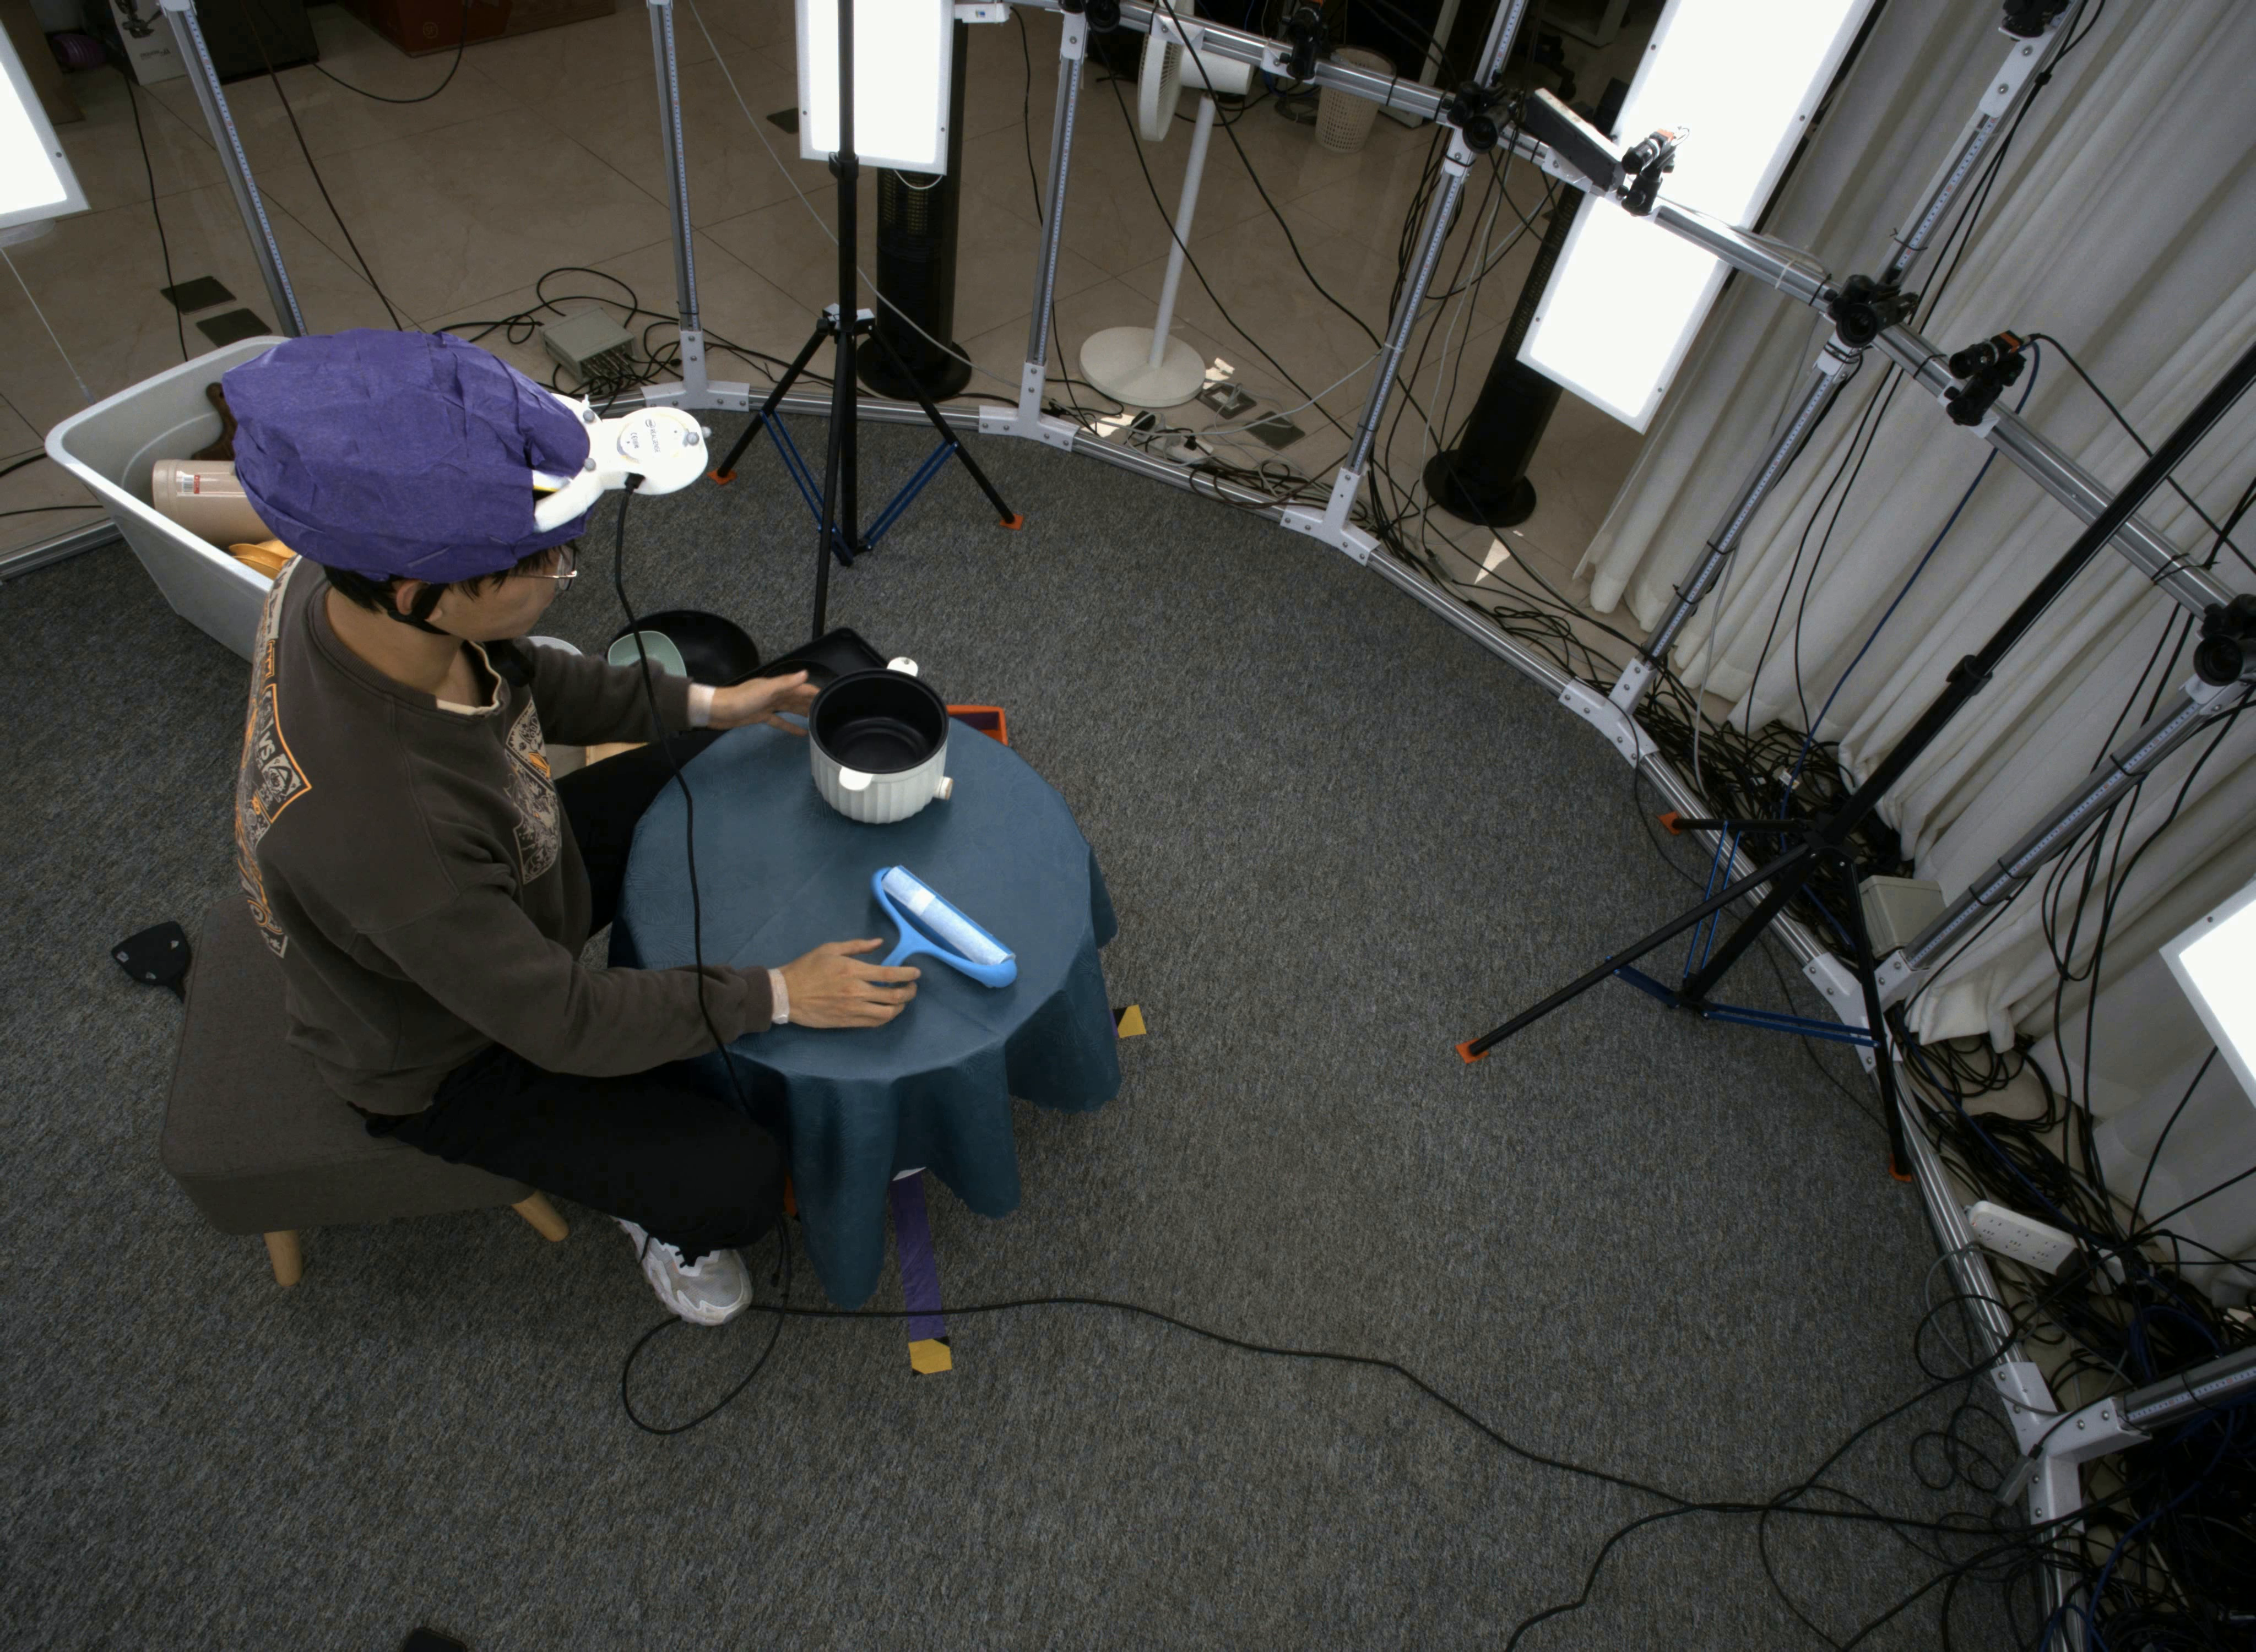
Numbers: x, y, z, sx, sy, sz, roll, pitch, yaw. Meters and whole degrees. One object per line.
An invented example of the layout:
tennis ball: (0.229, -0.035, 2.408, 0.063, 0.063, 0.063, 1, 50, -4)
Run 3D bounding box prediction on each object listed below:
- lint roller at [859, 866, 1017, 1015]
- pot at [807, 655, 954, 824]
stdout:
lint roller: (-0.266, 0.159, 1.623, 0.225, 0.069, 0.180, 35, 53, 11)
pot: (-0.329, -0.100, 1.746, 0.188, 0.146, 0.237, 12, 53, 1)
